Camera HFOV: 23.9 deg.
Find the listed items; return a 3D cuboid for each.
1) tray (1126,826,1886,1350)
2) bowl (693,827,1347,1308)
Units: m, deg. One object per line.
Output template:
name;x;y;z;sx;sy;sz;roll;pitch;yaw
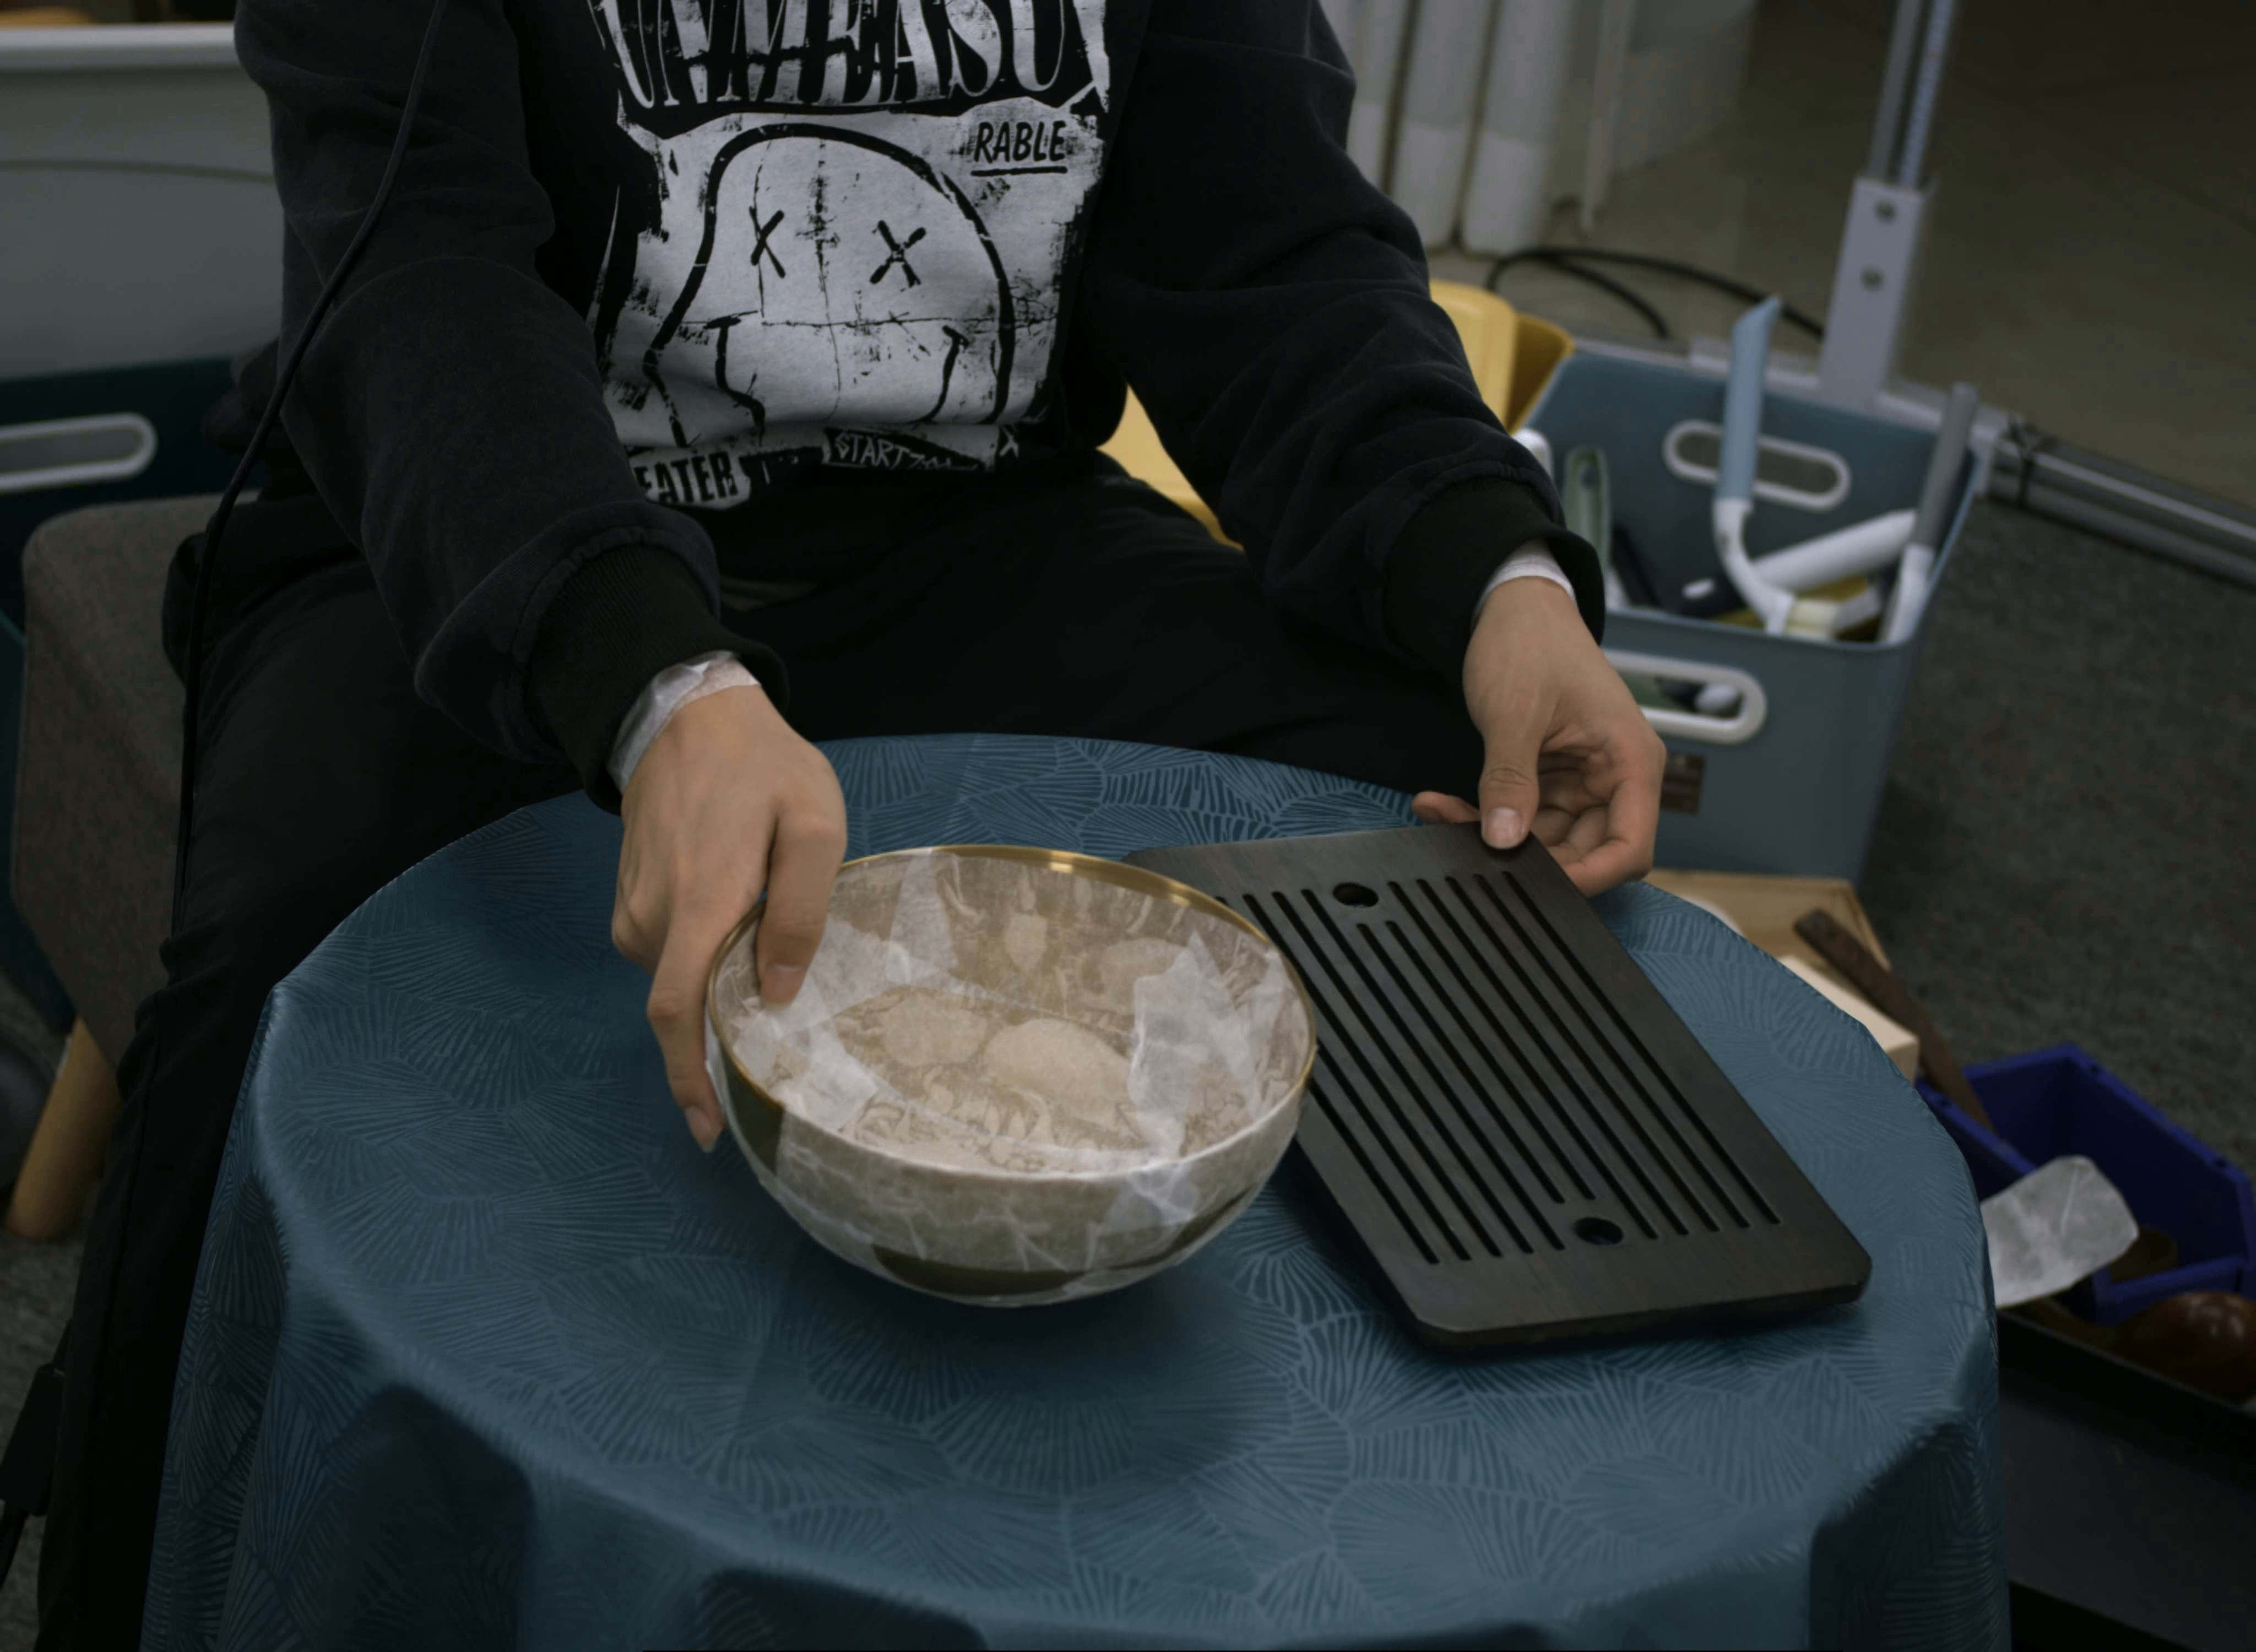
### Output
tray;0.125;0.088;1.863;0.169;0.018;0.309;-5;31;-20
bowl;-0.040;0.093;1.745;0.214;0.094;0.216;3;30;-2
